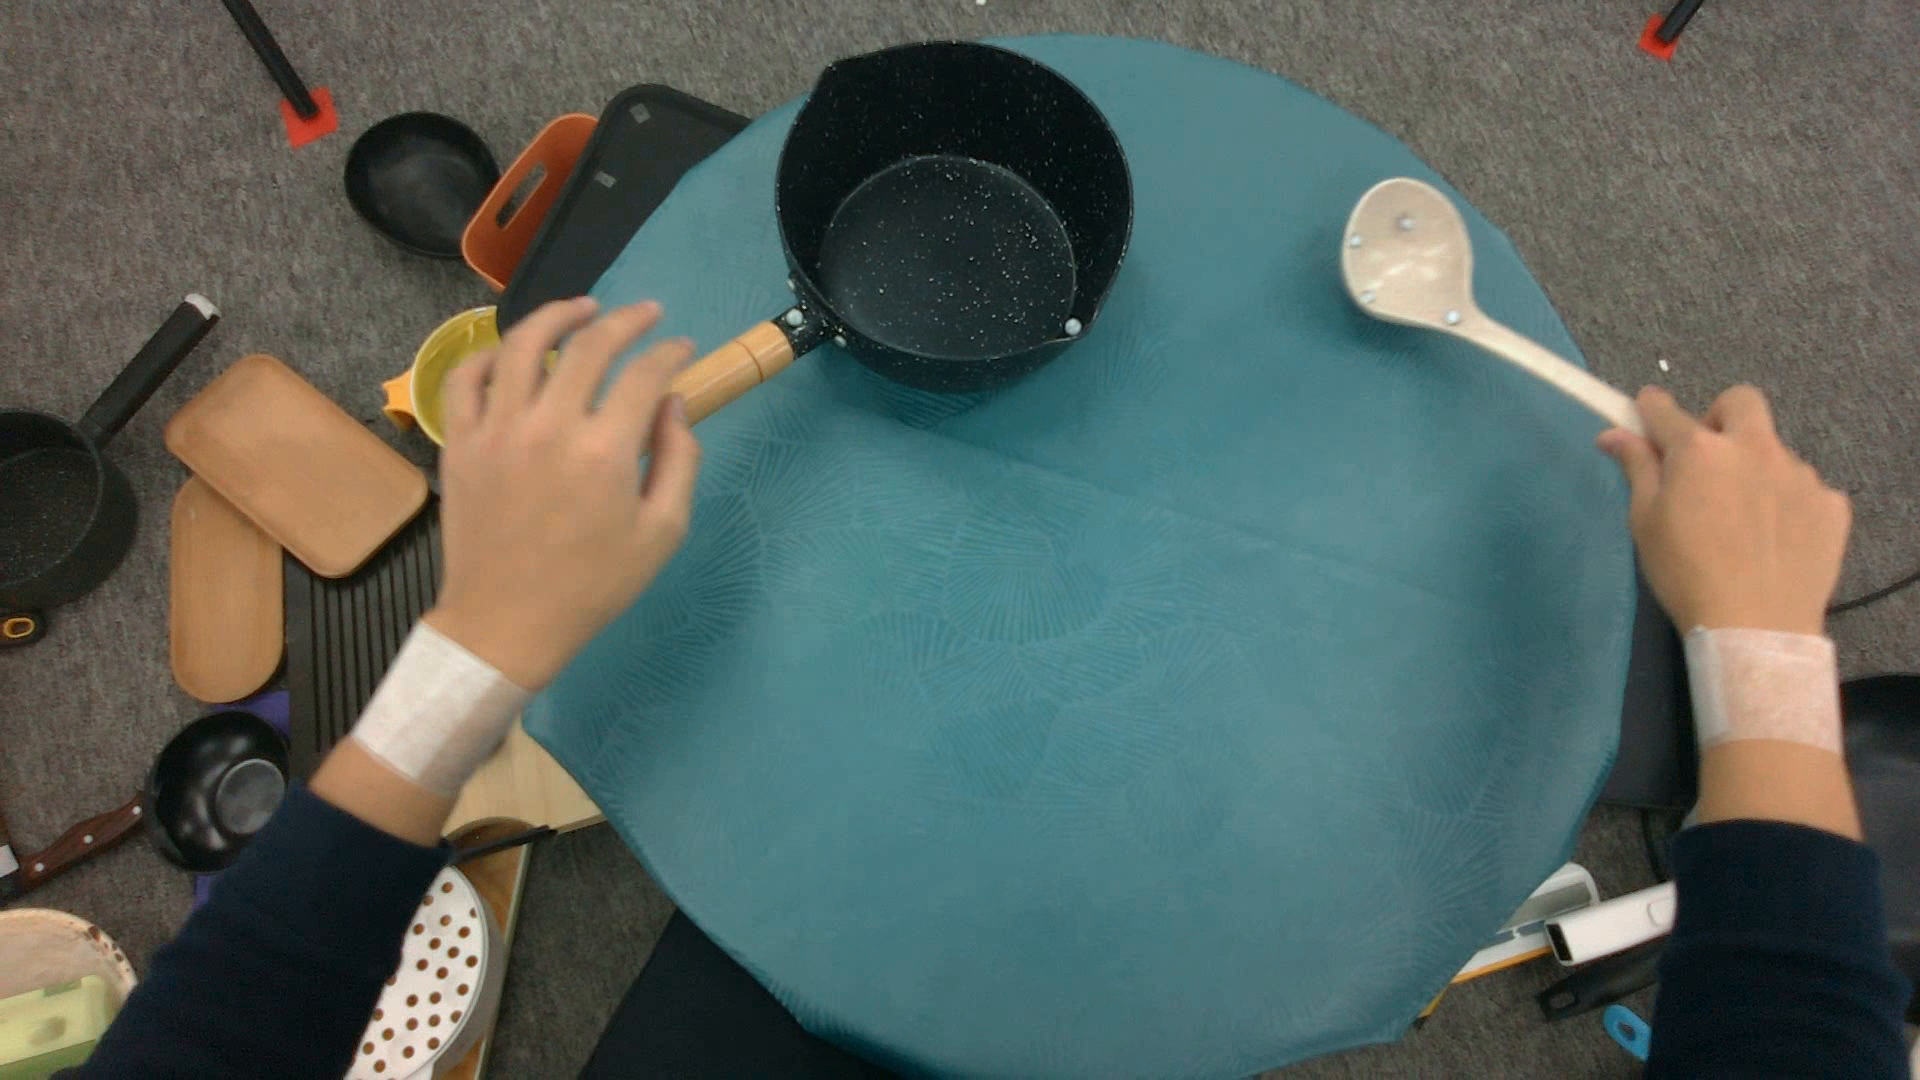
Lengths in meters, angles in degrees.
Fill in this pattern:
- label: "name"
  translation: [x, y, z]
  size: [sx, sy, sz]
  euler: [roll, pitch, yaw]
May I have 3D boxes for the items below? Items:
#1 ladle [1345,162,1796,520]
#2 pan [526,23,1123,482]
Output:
- label: "ladle"
  translation: [0.308, -0.110, 0.700]
  size: [0.089, 0.069, 0.275]
  euler: [-22, 45, -22]
- label: "pan"
  translation: [-0.068, -0.125, 0.711]
  size: [0.344, 0.108, 0.207]
  euler: [-41, 81, -16]
